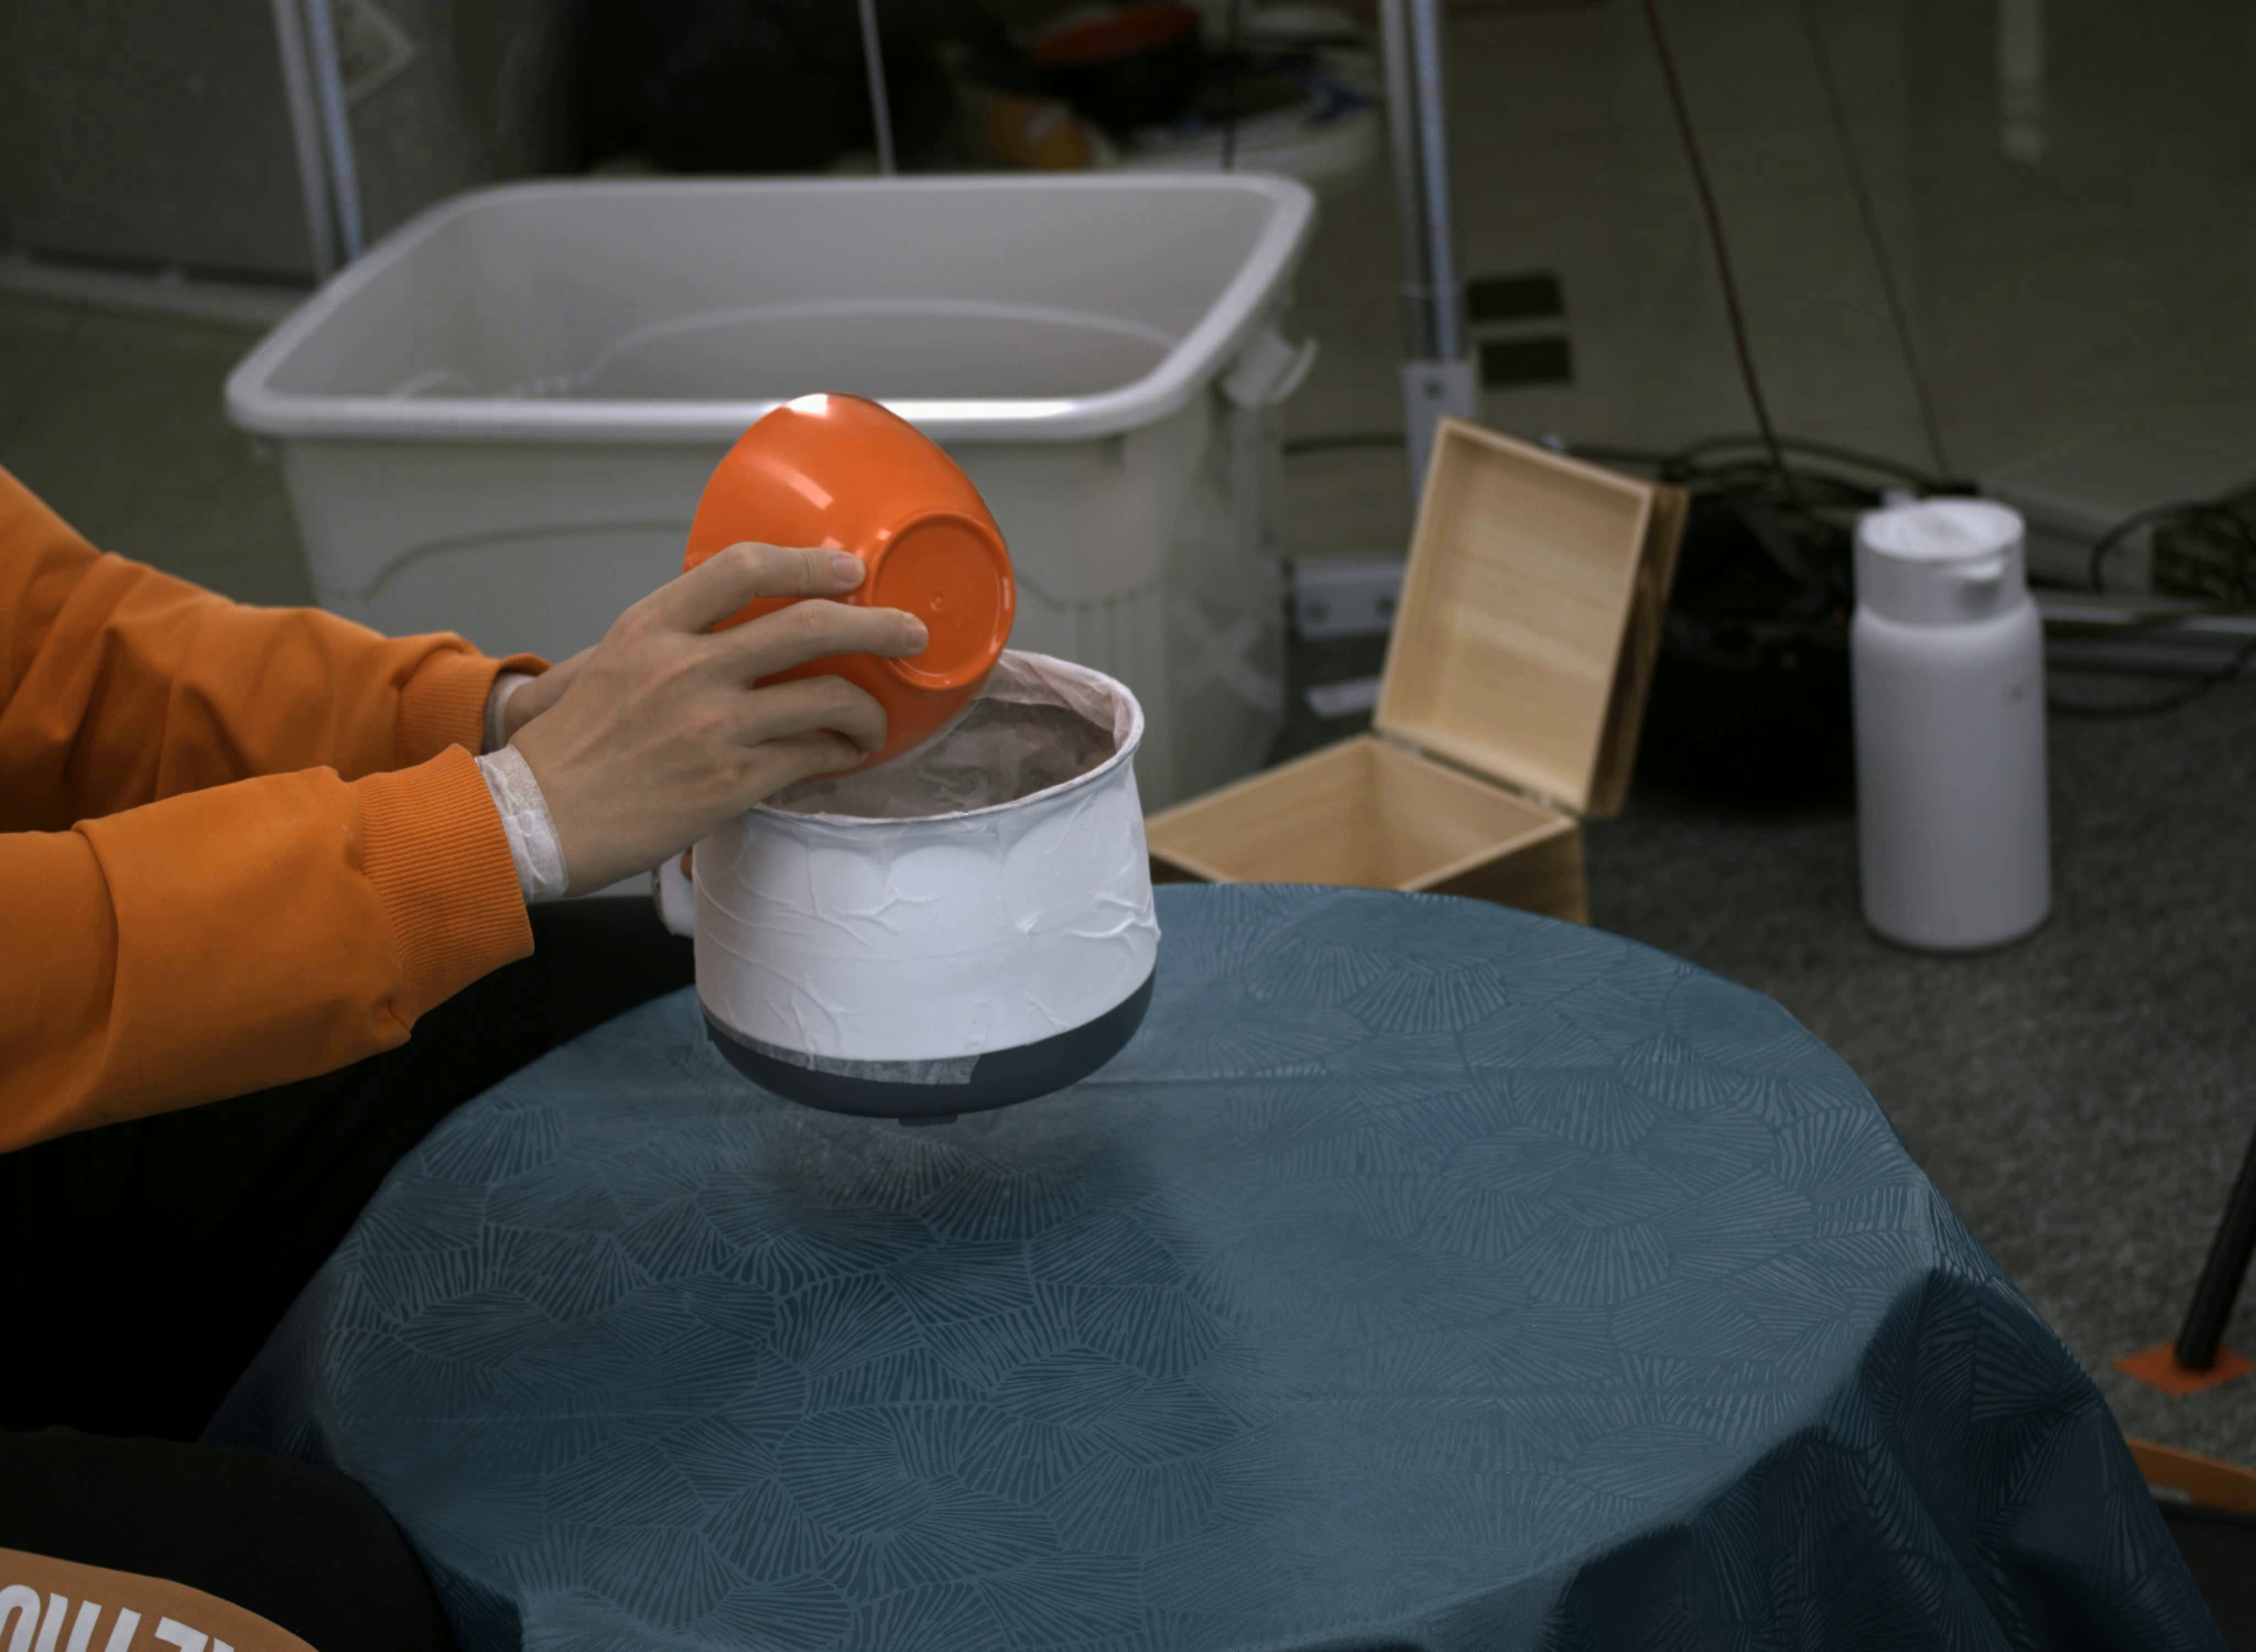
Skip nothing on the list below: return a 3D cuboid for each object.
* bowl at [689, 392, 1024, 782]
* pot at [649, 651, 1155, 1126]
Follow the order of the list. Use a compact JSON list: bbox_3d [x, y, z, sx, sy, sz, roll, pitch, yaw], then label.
[{"bbox_3d":[-0.086,-0.087,2.105,0.147,0.150,0.104,-25,20,-34],"label":"bowl"},{"bbox_3d":[-0.099,0.016,2.168,0.232,0.138,0.177,17,30,39],"label":"pot"}]
